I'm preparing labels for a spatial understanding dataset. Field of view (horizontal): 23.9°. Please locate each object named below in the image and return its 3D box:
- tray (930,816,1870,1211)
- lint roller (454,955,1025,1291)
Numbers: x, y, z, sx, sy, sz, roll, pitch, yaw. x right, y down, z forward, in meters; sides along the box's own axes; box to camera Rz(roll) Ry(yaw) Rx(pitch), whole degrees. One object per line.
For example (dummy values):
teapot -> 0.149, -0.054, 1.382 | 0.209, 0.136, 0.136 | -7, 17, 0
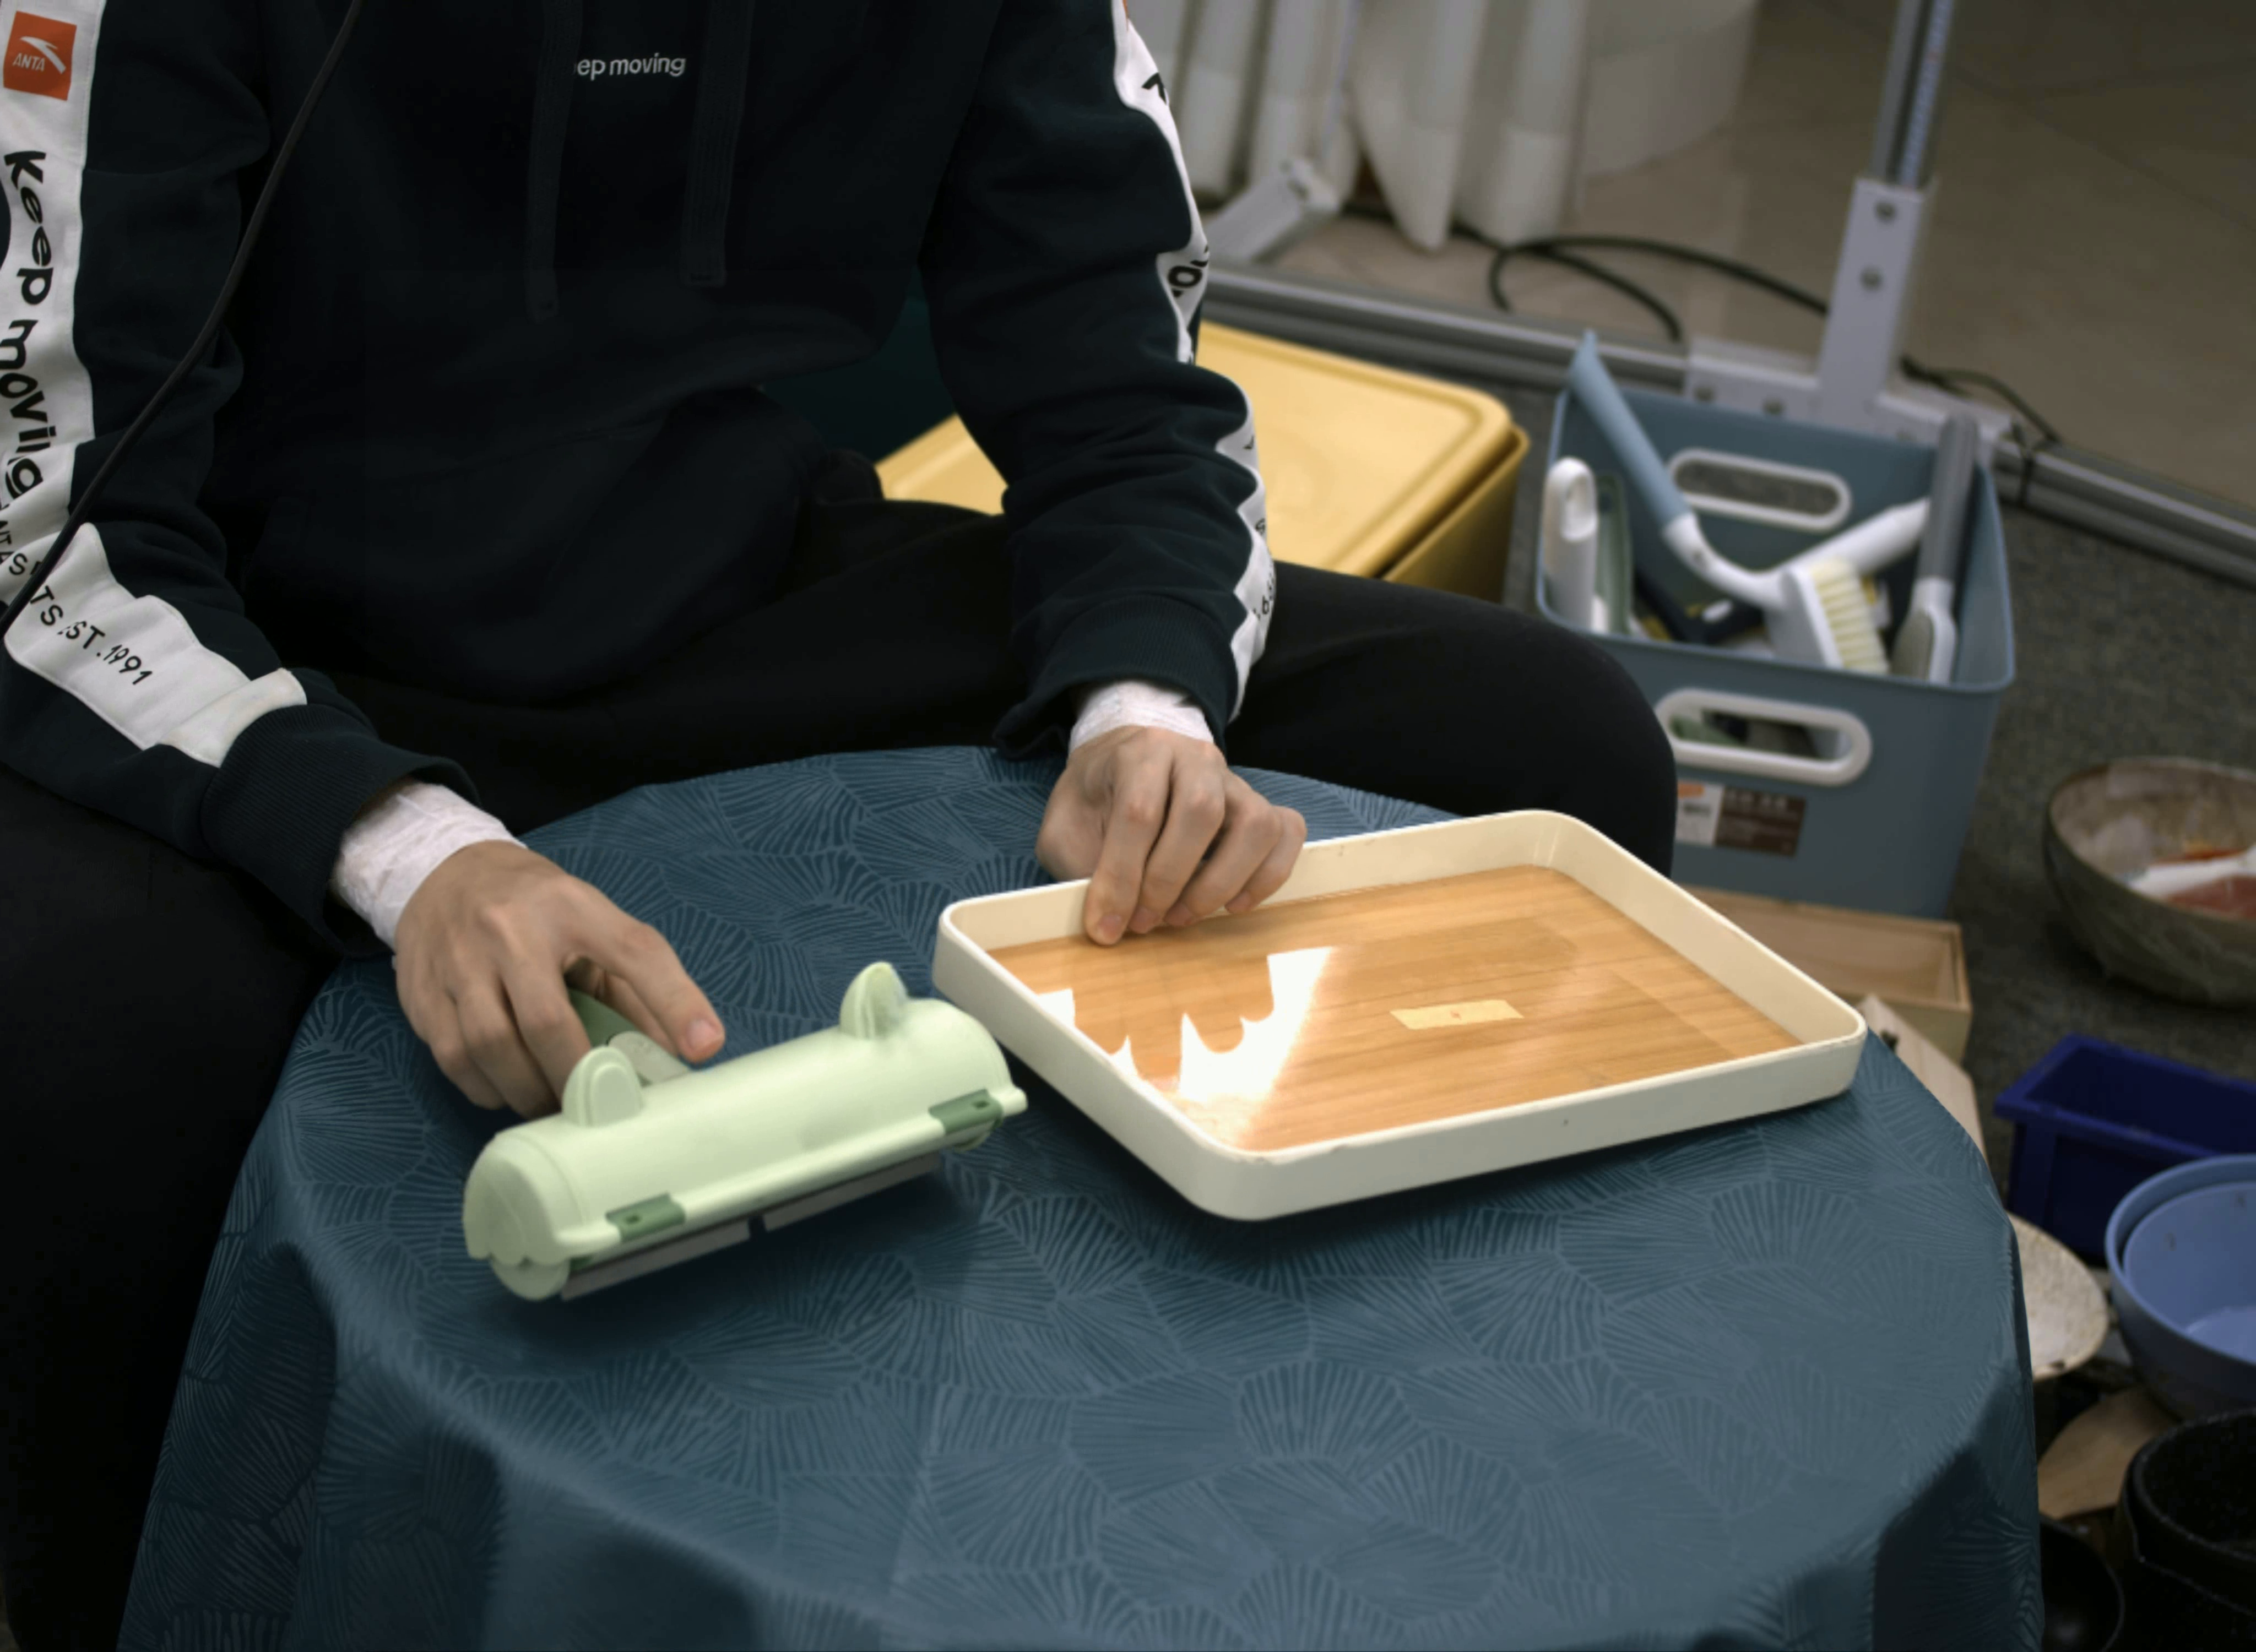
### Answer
tray -> 0.097, 0.062, 1.886 | 0.298, 0.027, 0.193 | -8, 29, -36
lint roller -> -0.161, 0.070, 1.754 | 0.197, 0.082, 0.185 | -16, 39, -40
